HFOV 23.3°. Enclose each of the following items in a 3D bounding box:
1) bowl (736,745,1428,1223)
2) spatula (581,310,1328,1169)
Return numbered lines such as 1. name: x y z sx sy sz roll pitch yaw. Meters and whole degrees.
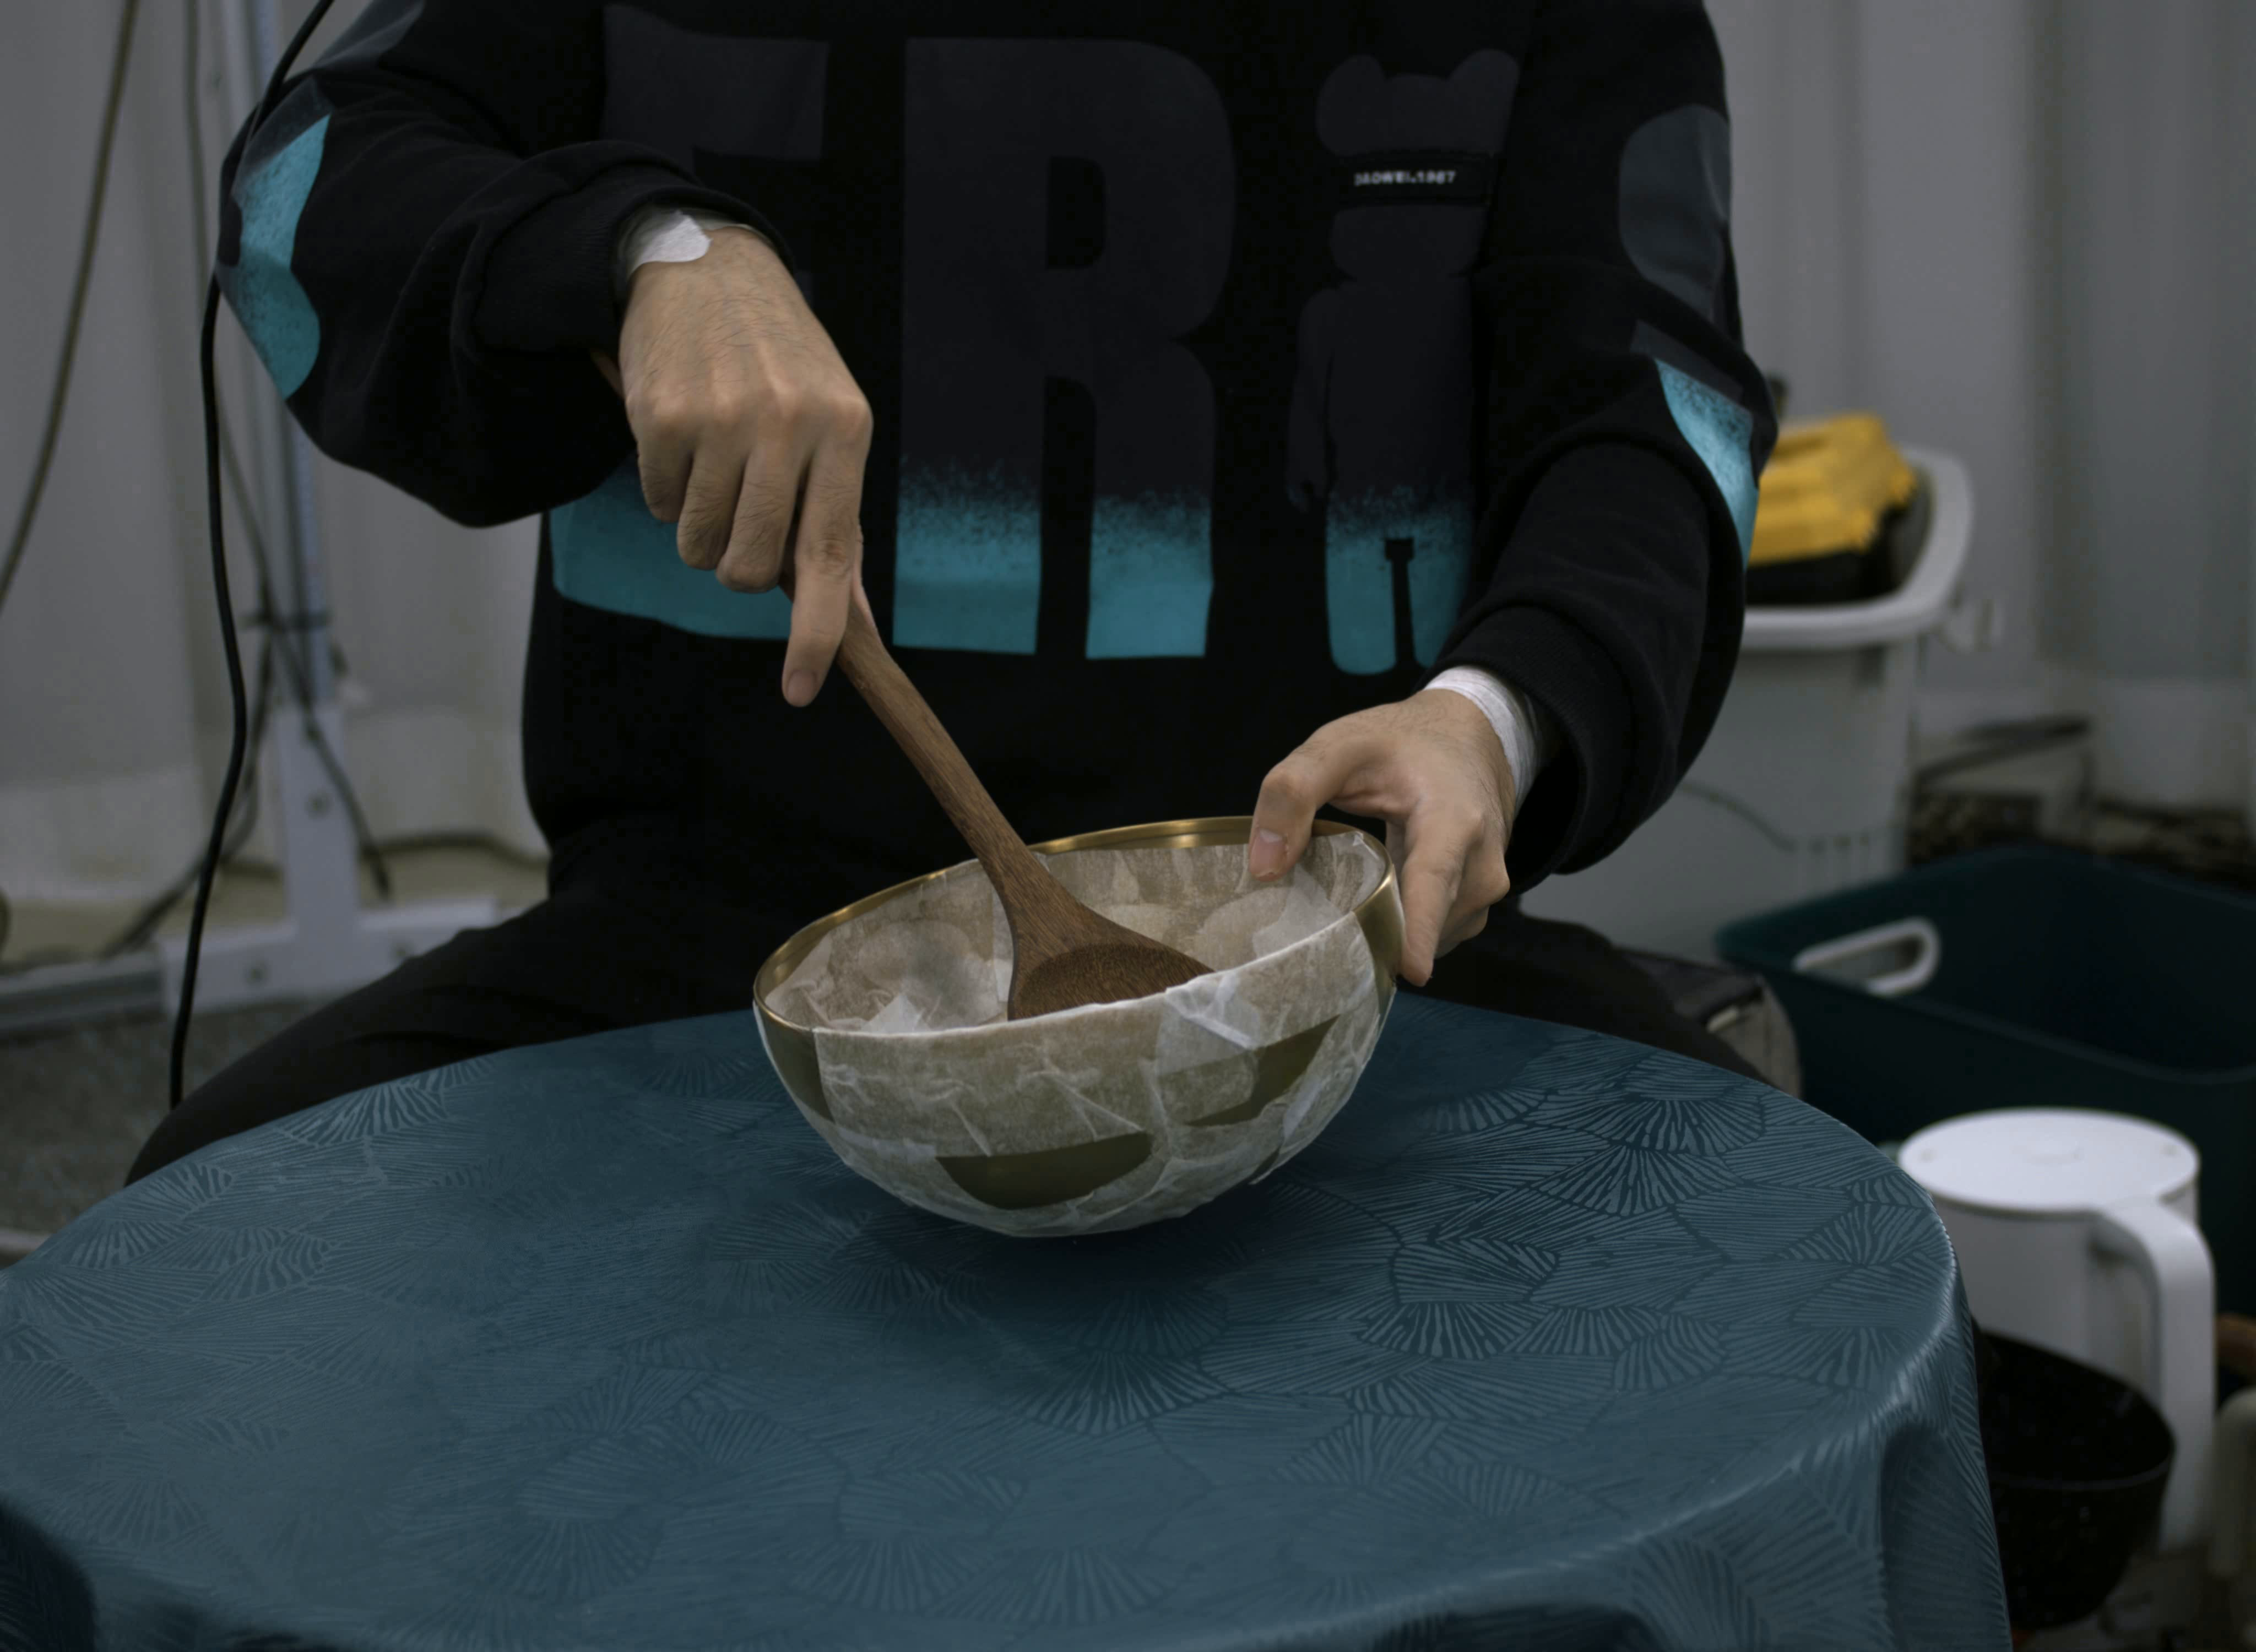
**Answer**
1. bowl: -0.007 0.059 1.671 0.214 0.094 0.217 -12 23 5
2. spatula: -0.071 -0.036 1.732 0.096 0.015 0.390 -13 54 -39
